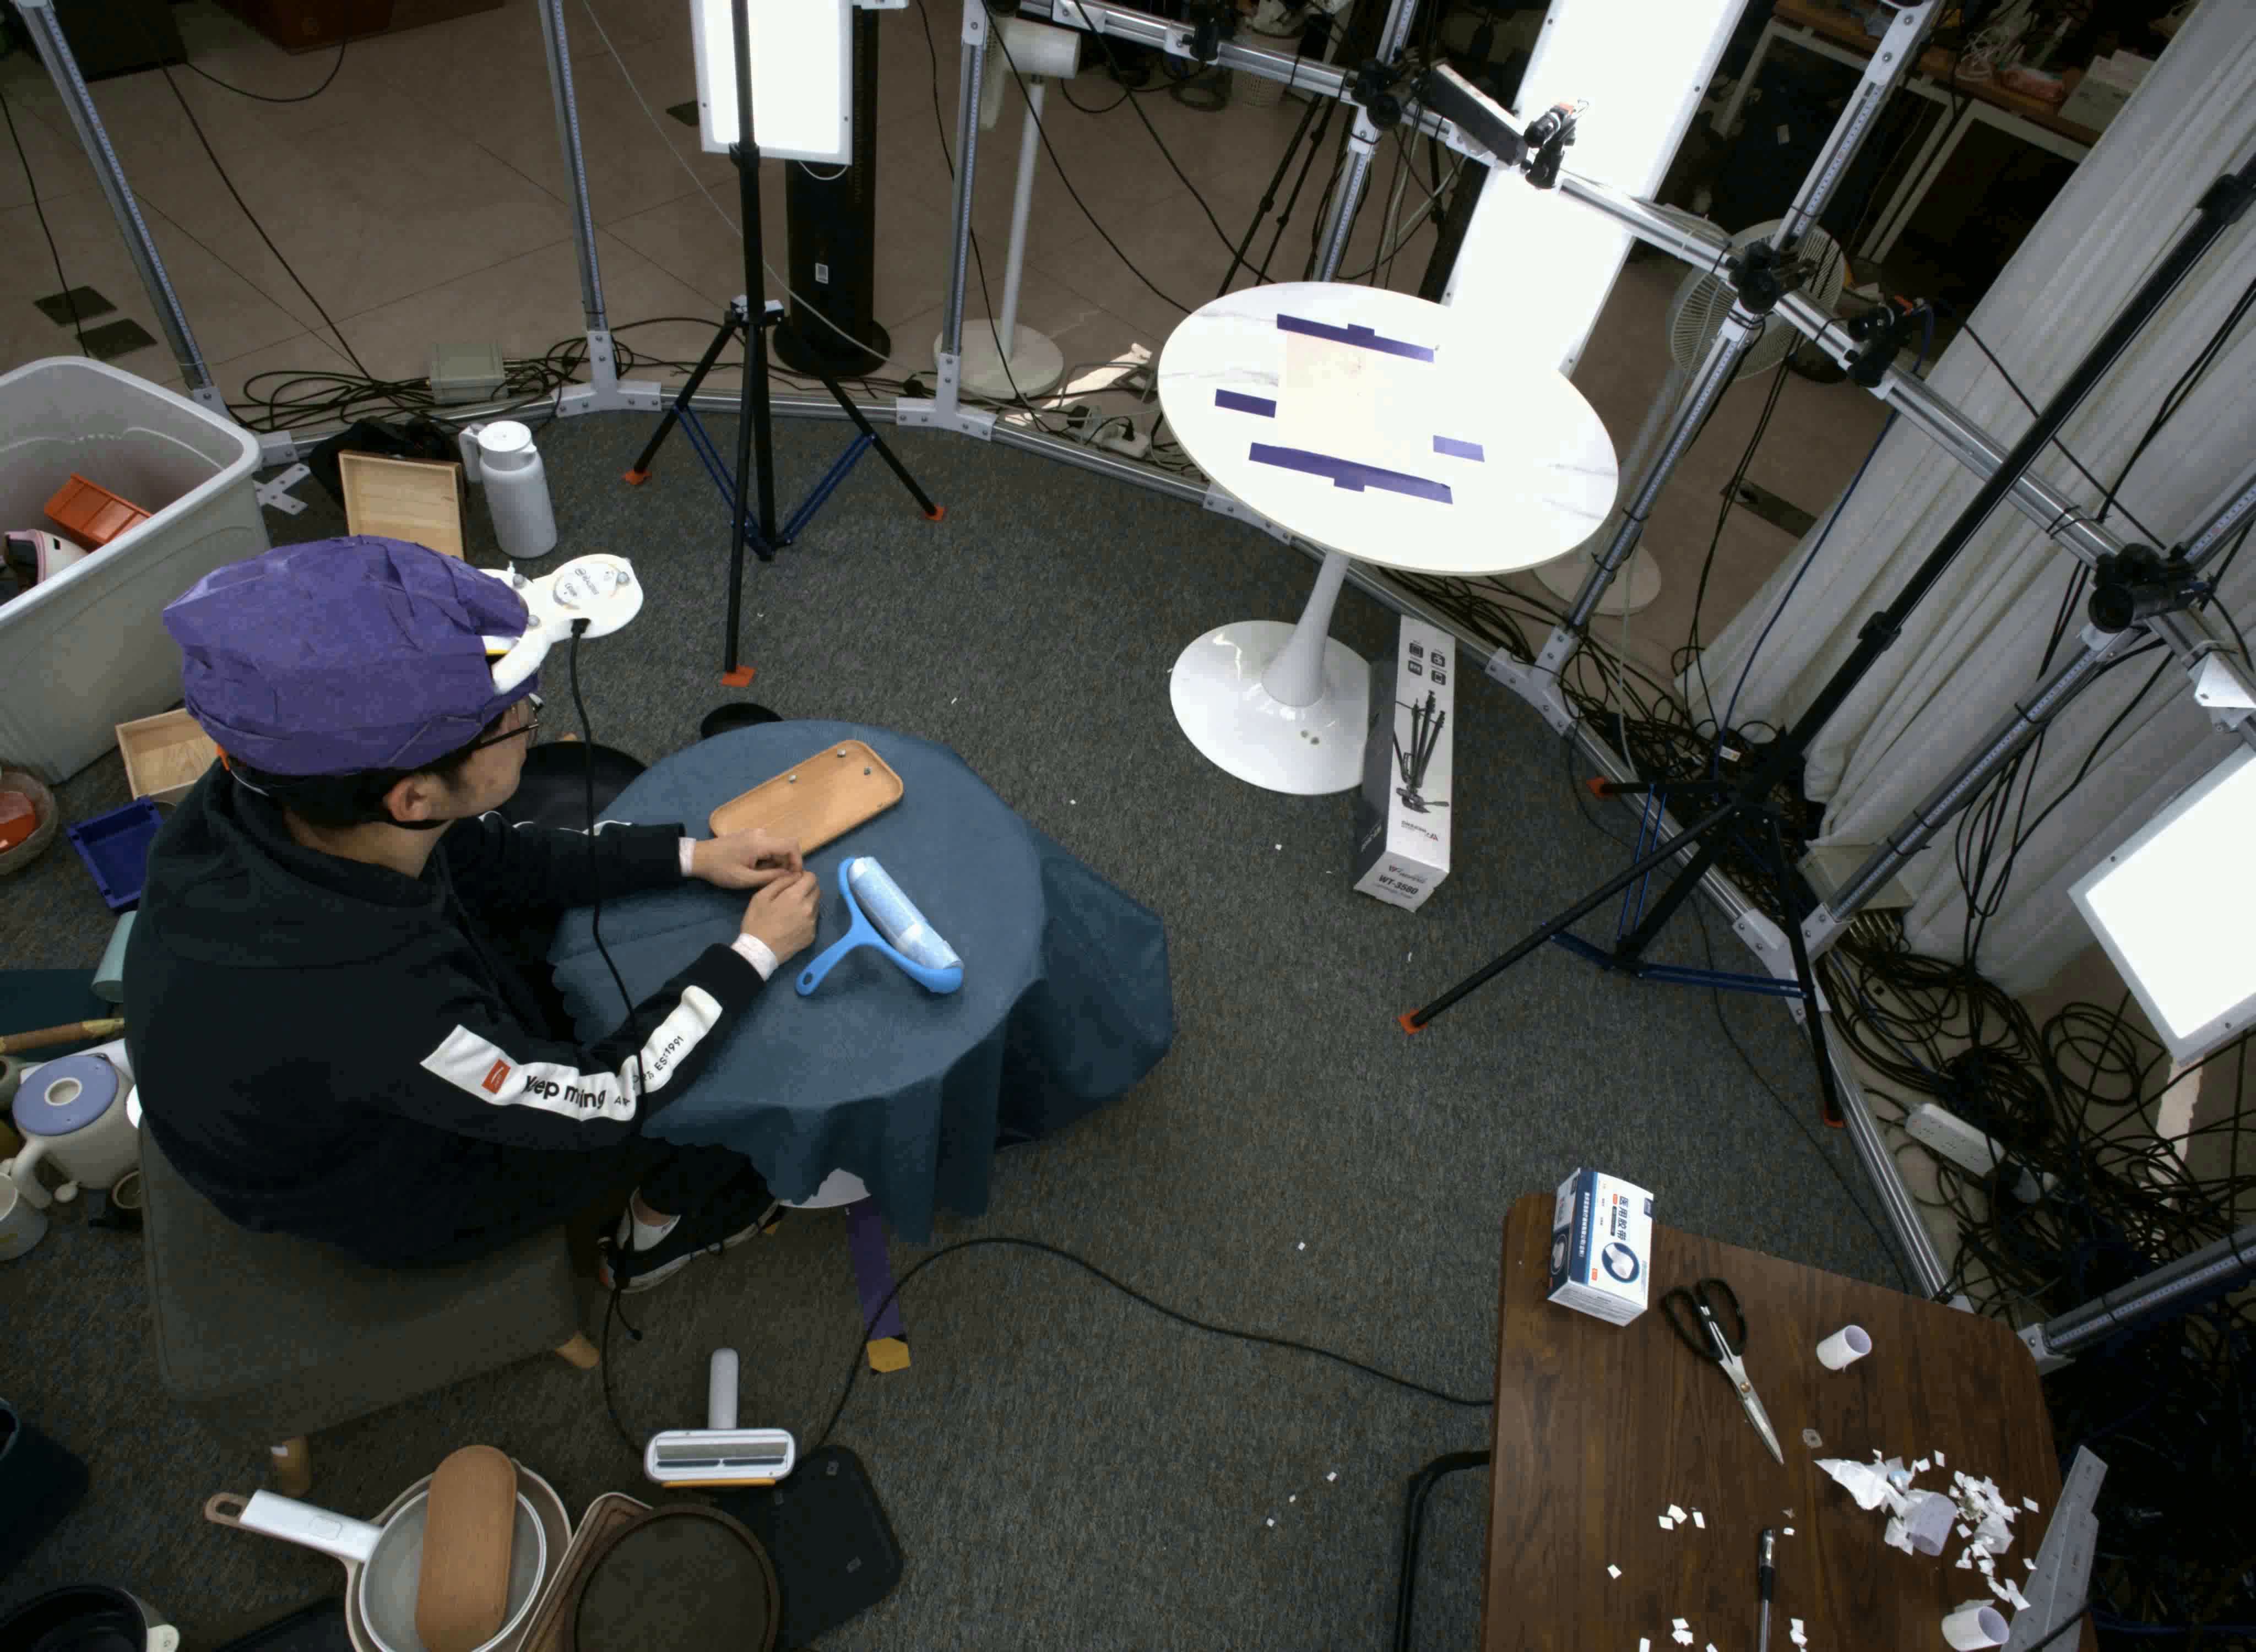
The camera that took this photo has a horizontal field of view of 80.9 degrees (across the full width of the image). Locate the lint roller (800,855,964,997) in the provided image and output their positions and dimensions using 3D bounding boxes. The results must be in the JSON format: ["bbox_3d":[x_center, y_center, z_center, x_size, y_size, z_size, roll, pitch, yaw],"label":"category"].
[{"bbox_3d":[-0.328,0.146,1.611,0.181,0.069,0.224,-34,70,-33],"label":"lint roller"}]

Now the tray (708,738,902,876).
[{"bbox_3d":[-0.430,-0.028,1.738,0.251,0.023,0.127,-33,66,-32],"label":"tray"}]
